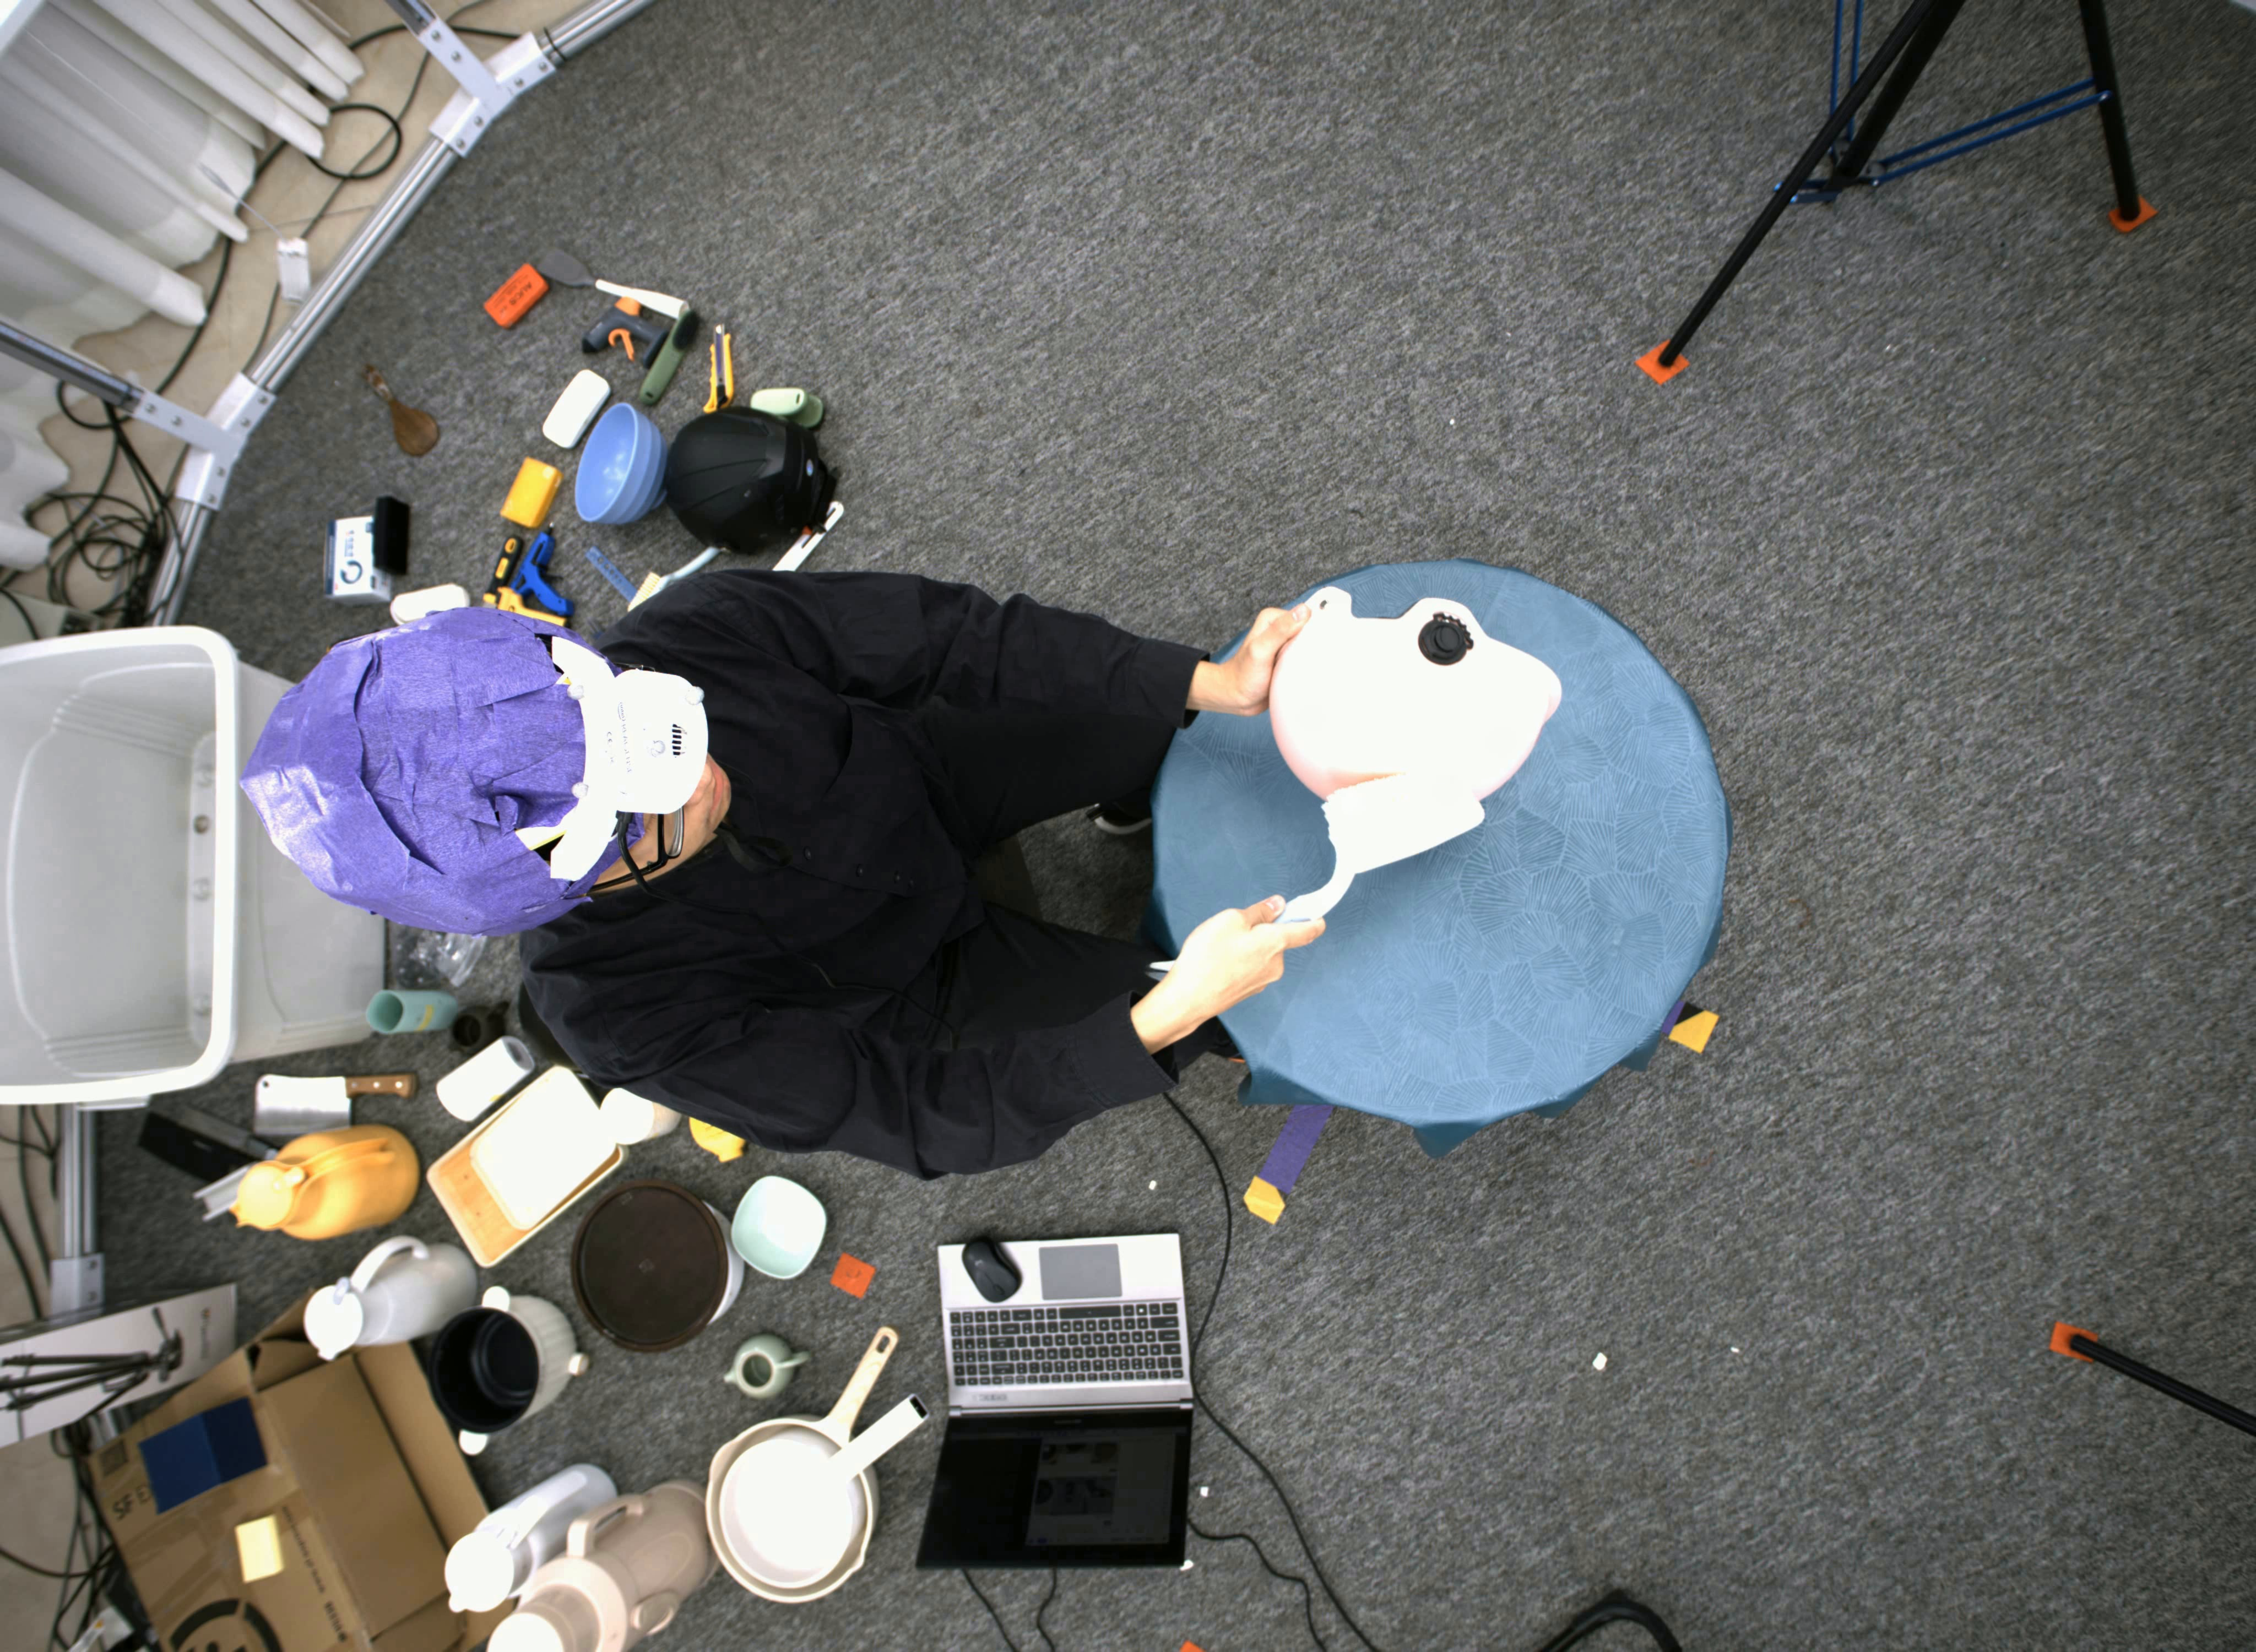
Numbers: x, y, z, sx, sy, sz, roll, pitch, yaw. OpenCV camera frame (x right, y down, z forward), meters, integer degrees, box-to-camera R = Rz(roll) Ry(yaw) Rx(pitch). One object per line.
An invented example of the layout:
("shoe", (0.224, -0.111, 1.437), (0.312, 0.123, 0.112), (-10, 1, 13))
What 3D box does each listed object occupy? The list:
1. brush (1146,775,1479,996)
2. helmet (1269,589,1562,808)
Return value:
("brush", (0.145, 0.035, 1.166), (0.324, 0.084, 0.084), (-27, 104, -9))
("helmet", (0.250, -0.089, 1.253), (0.266, 0.238, 0.156), (11, 68, 14))
